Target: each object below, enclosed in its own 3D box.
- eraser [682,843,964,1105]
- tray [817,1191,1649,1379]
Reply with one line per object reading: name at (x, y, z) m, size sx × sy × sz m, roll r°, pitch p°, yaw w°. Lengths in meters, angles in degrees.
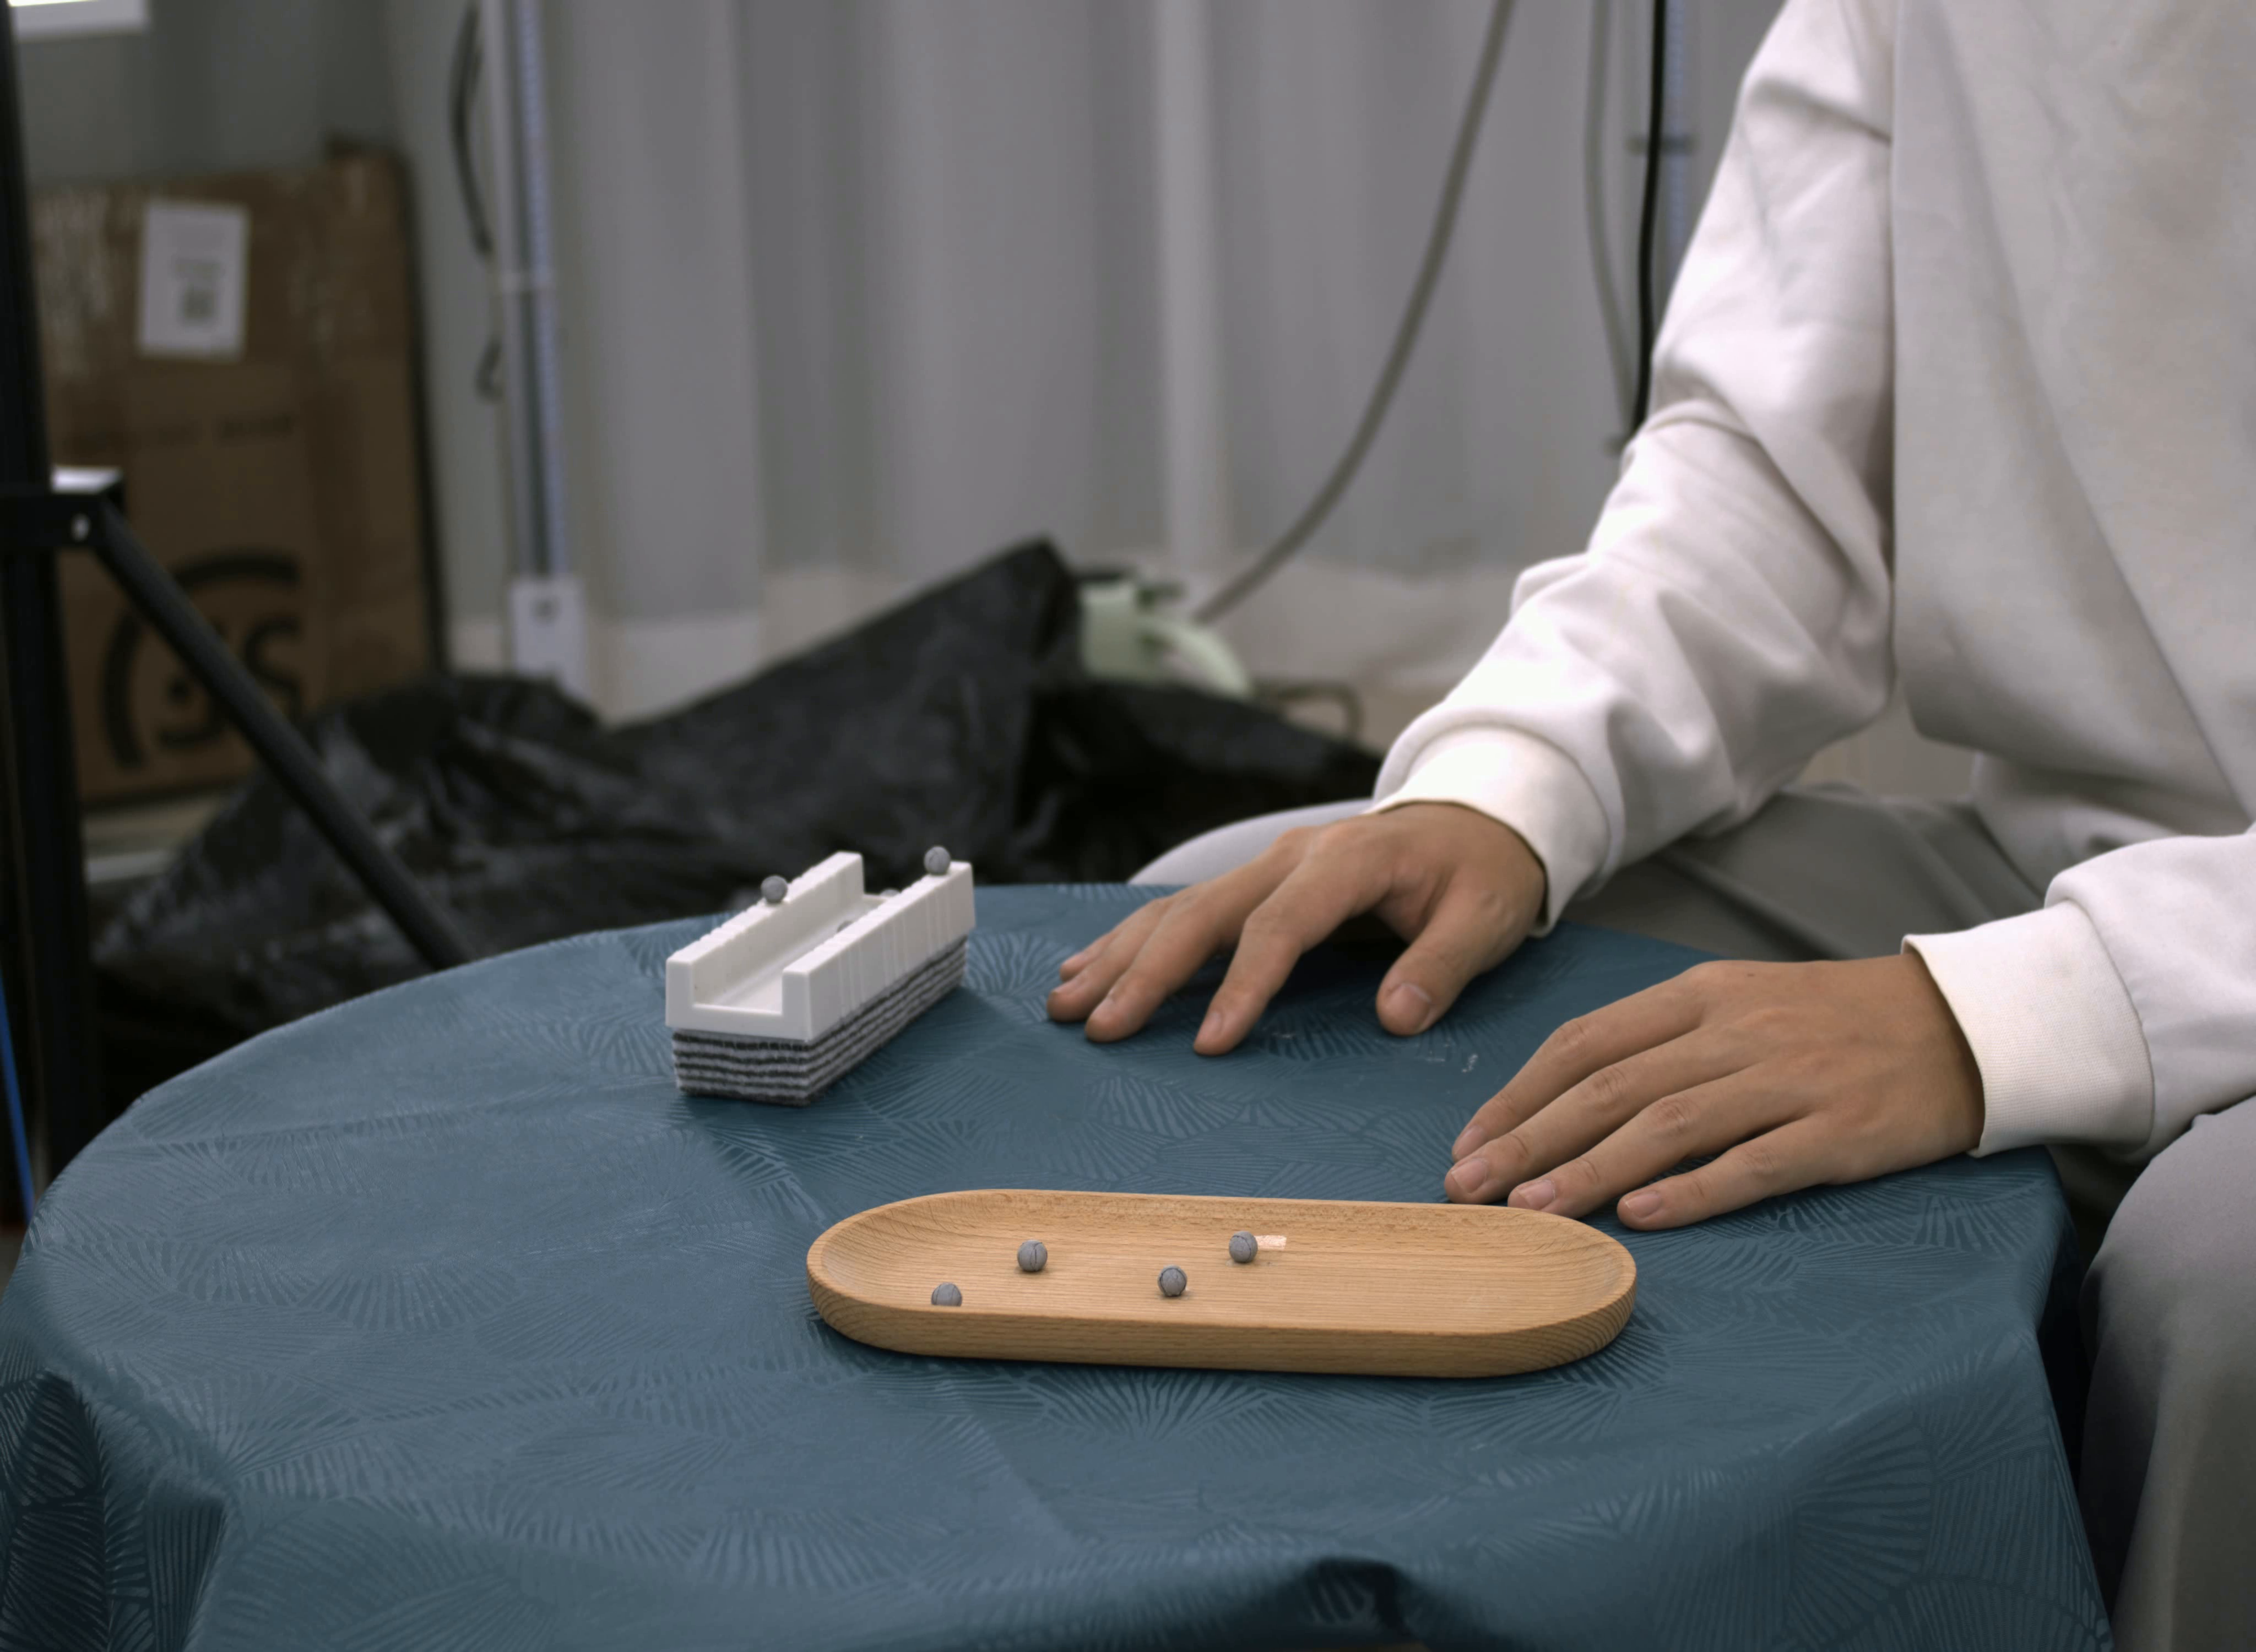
eraser at (-0.096, 0.047, 1.704) m, size 0.050 × 0.046 × 0.133 m, roll 8°, pitch 17°, yaw 15°
tray at (0.028, 0.127, 1.461) m, size 0.232 × 0.020 × 0.101 m, roll 2°, pitch 17°, yaw 11°
